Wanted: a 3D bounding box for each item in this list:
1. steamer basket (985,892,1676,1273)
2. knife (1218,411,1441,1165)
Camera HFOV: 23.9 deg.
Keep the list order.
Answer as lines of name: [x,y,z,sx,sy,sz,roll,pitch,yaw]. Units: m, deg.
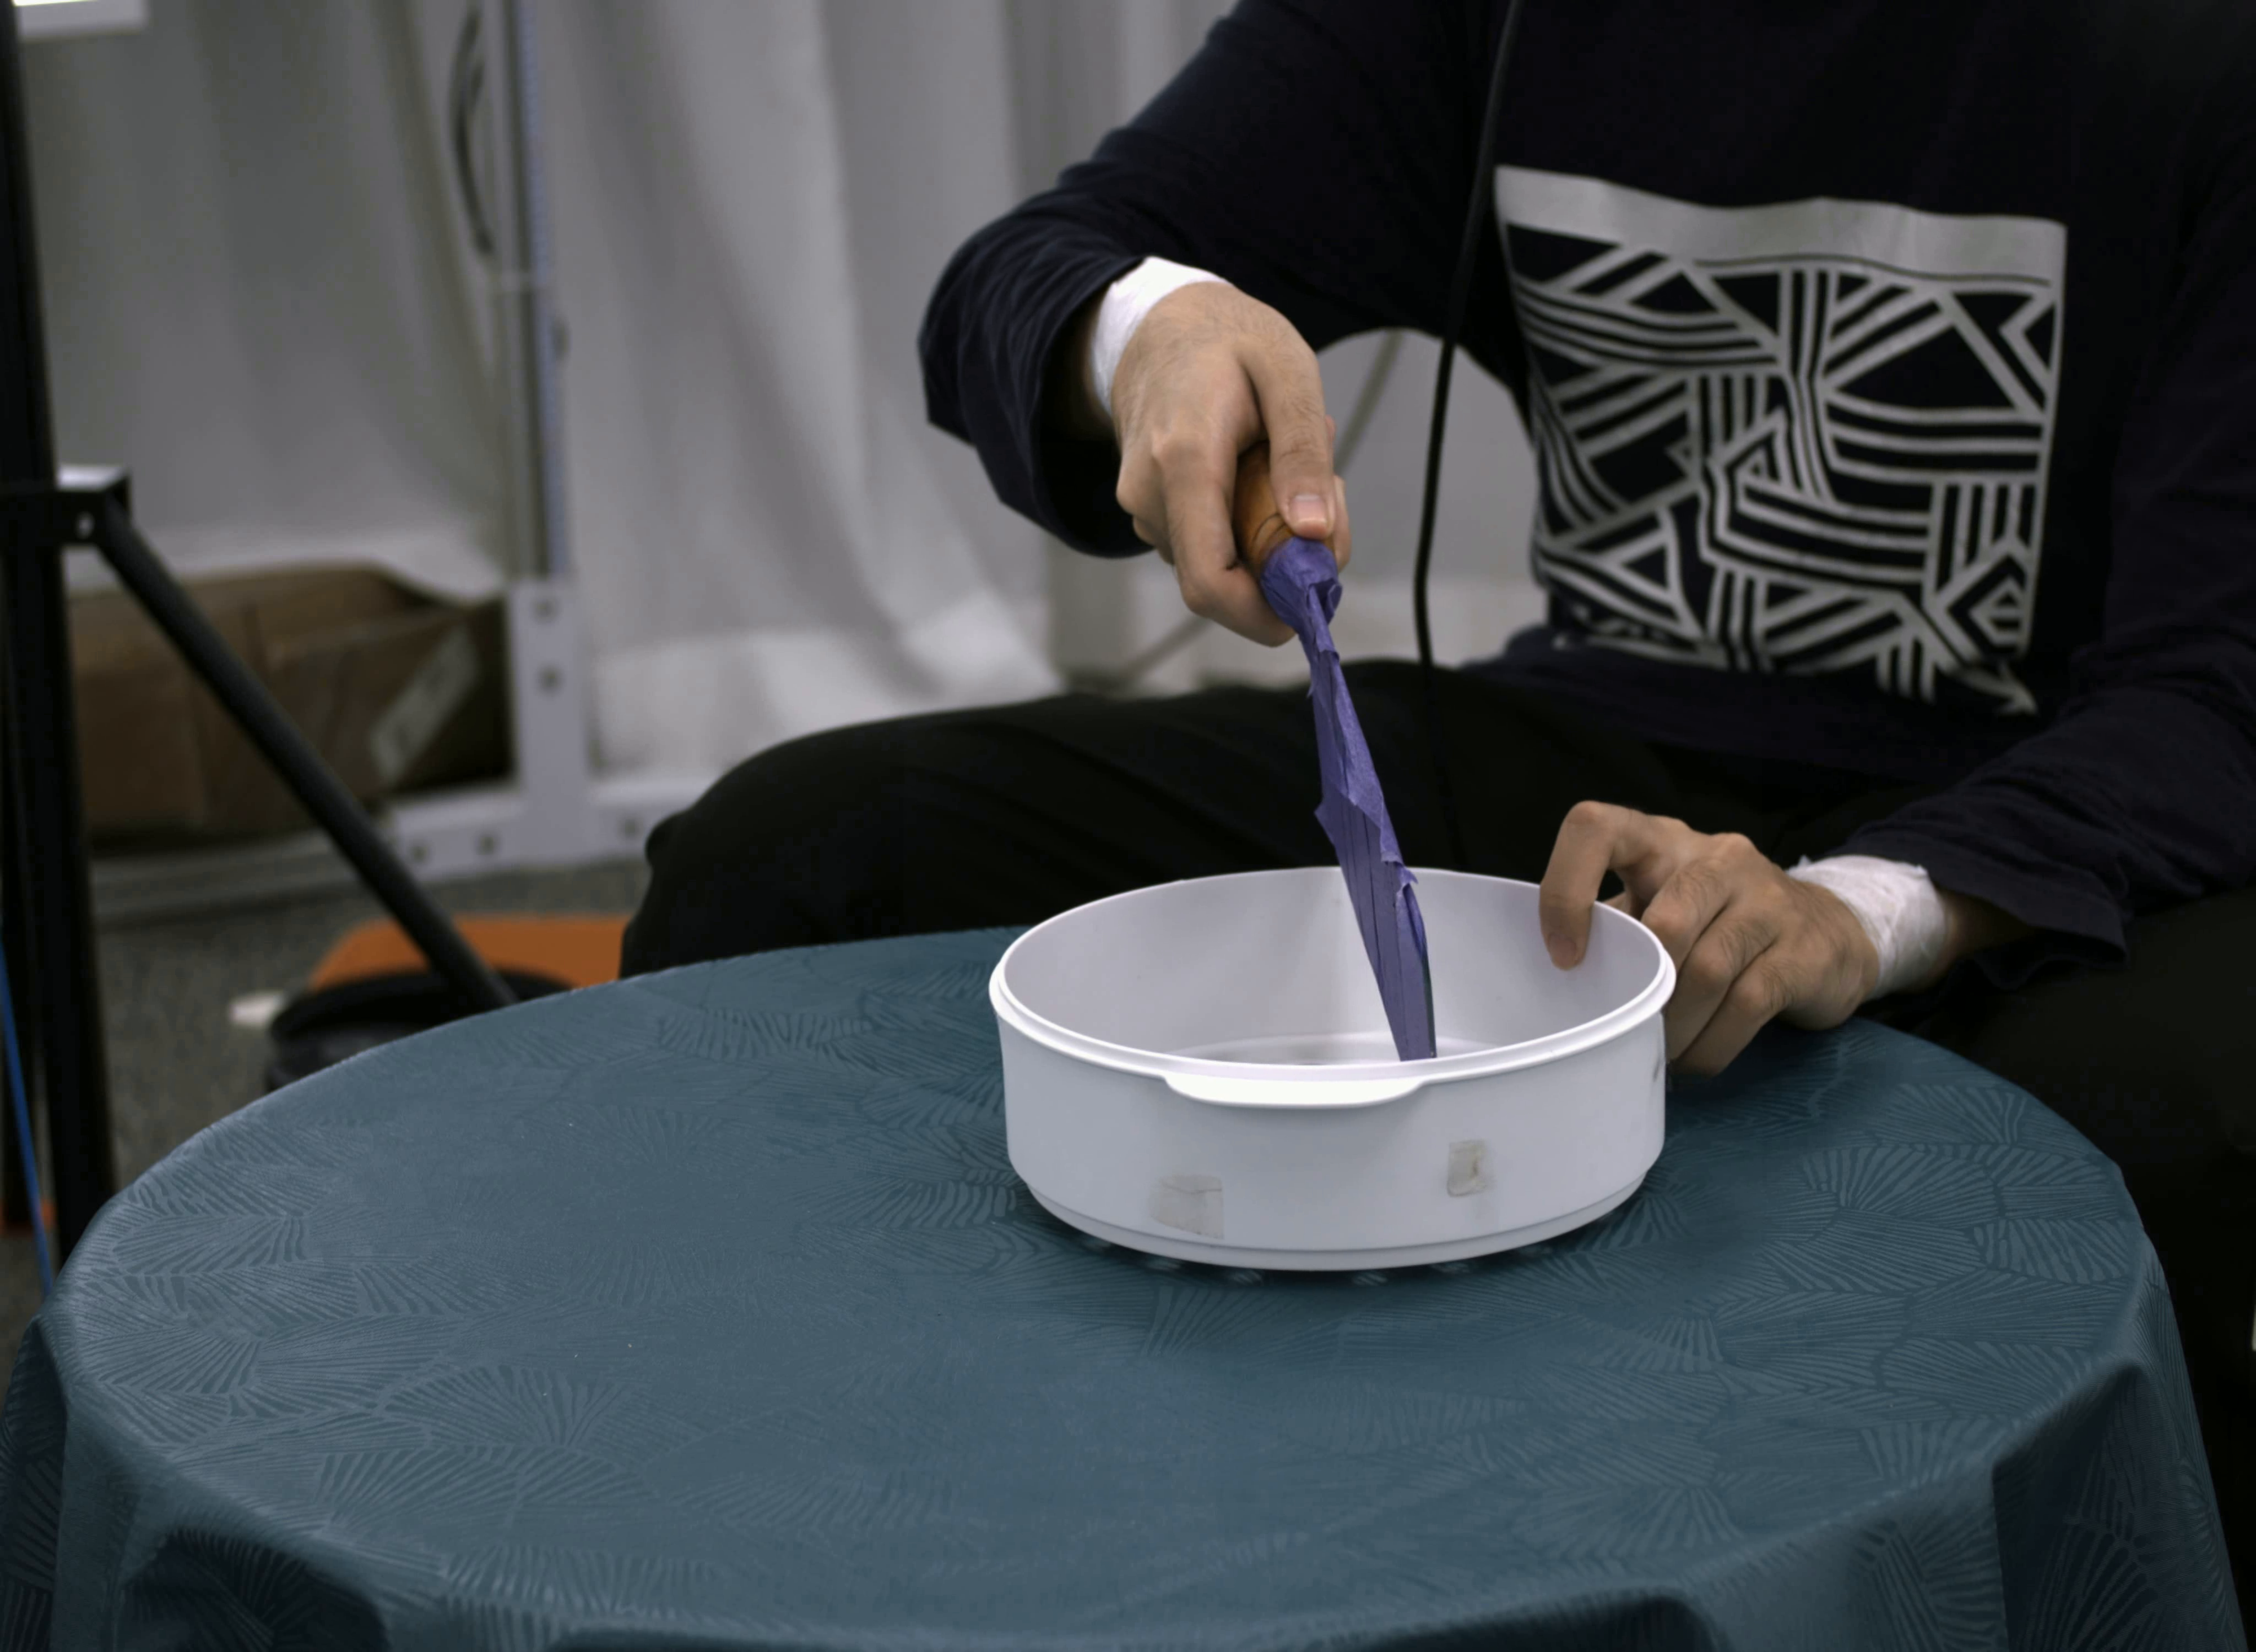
steamer basket: [0.059,0.075,1.553,0.202,0.069,0.229,2,13,9]
knife: [0.060,-0.014,1.590,0.032,0.103,0.319,-6,31,-3]
